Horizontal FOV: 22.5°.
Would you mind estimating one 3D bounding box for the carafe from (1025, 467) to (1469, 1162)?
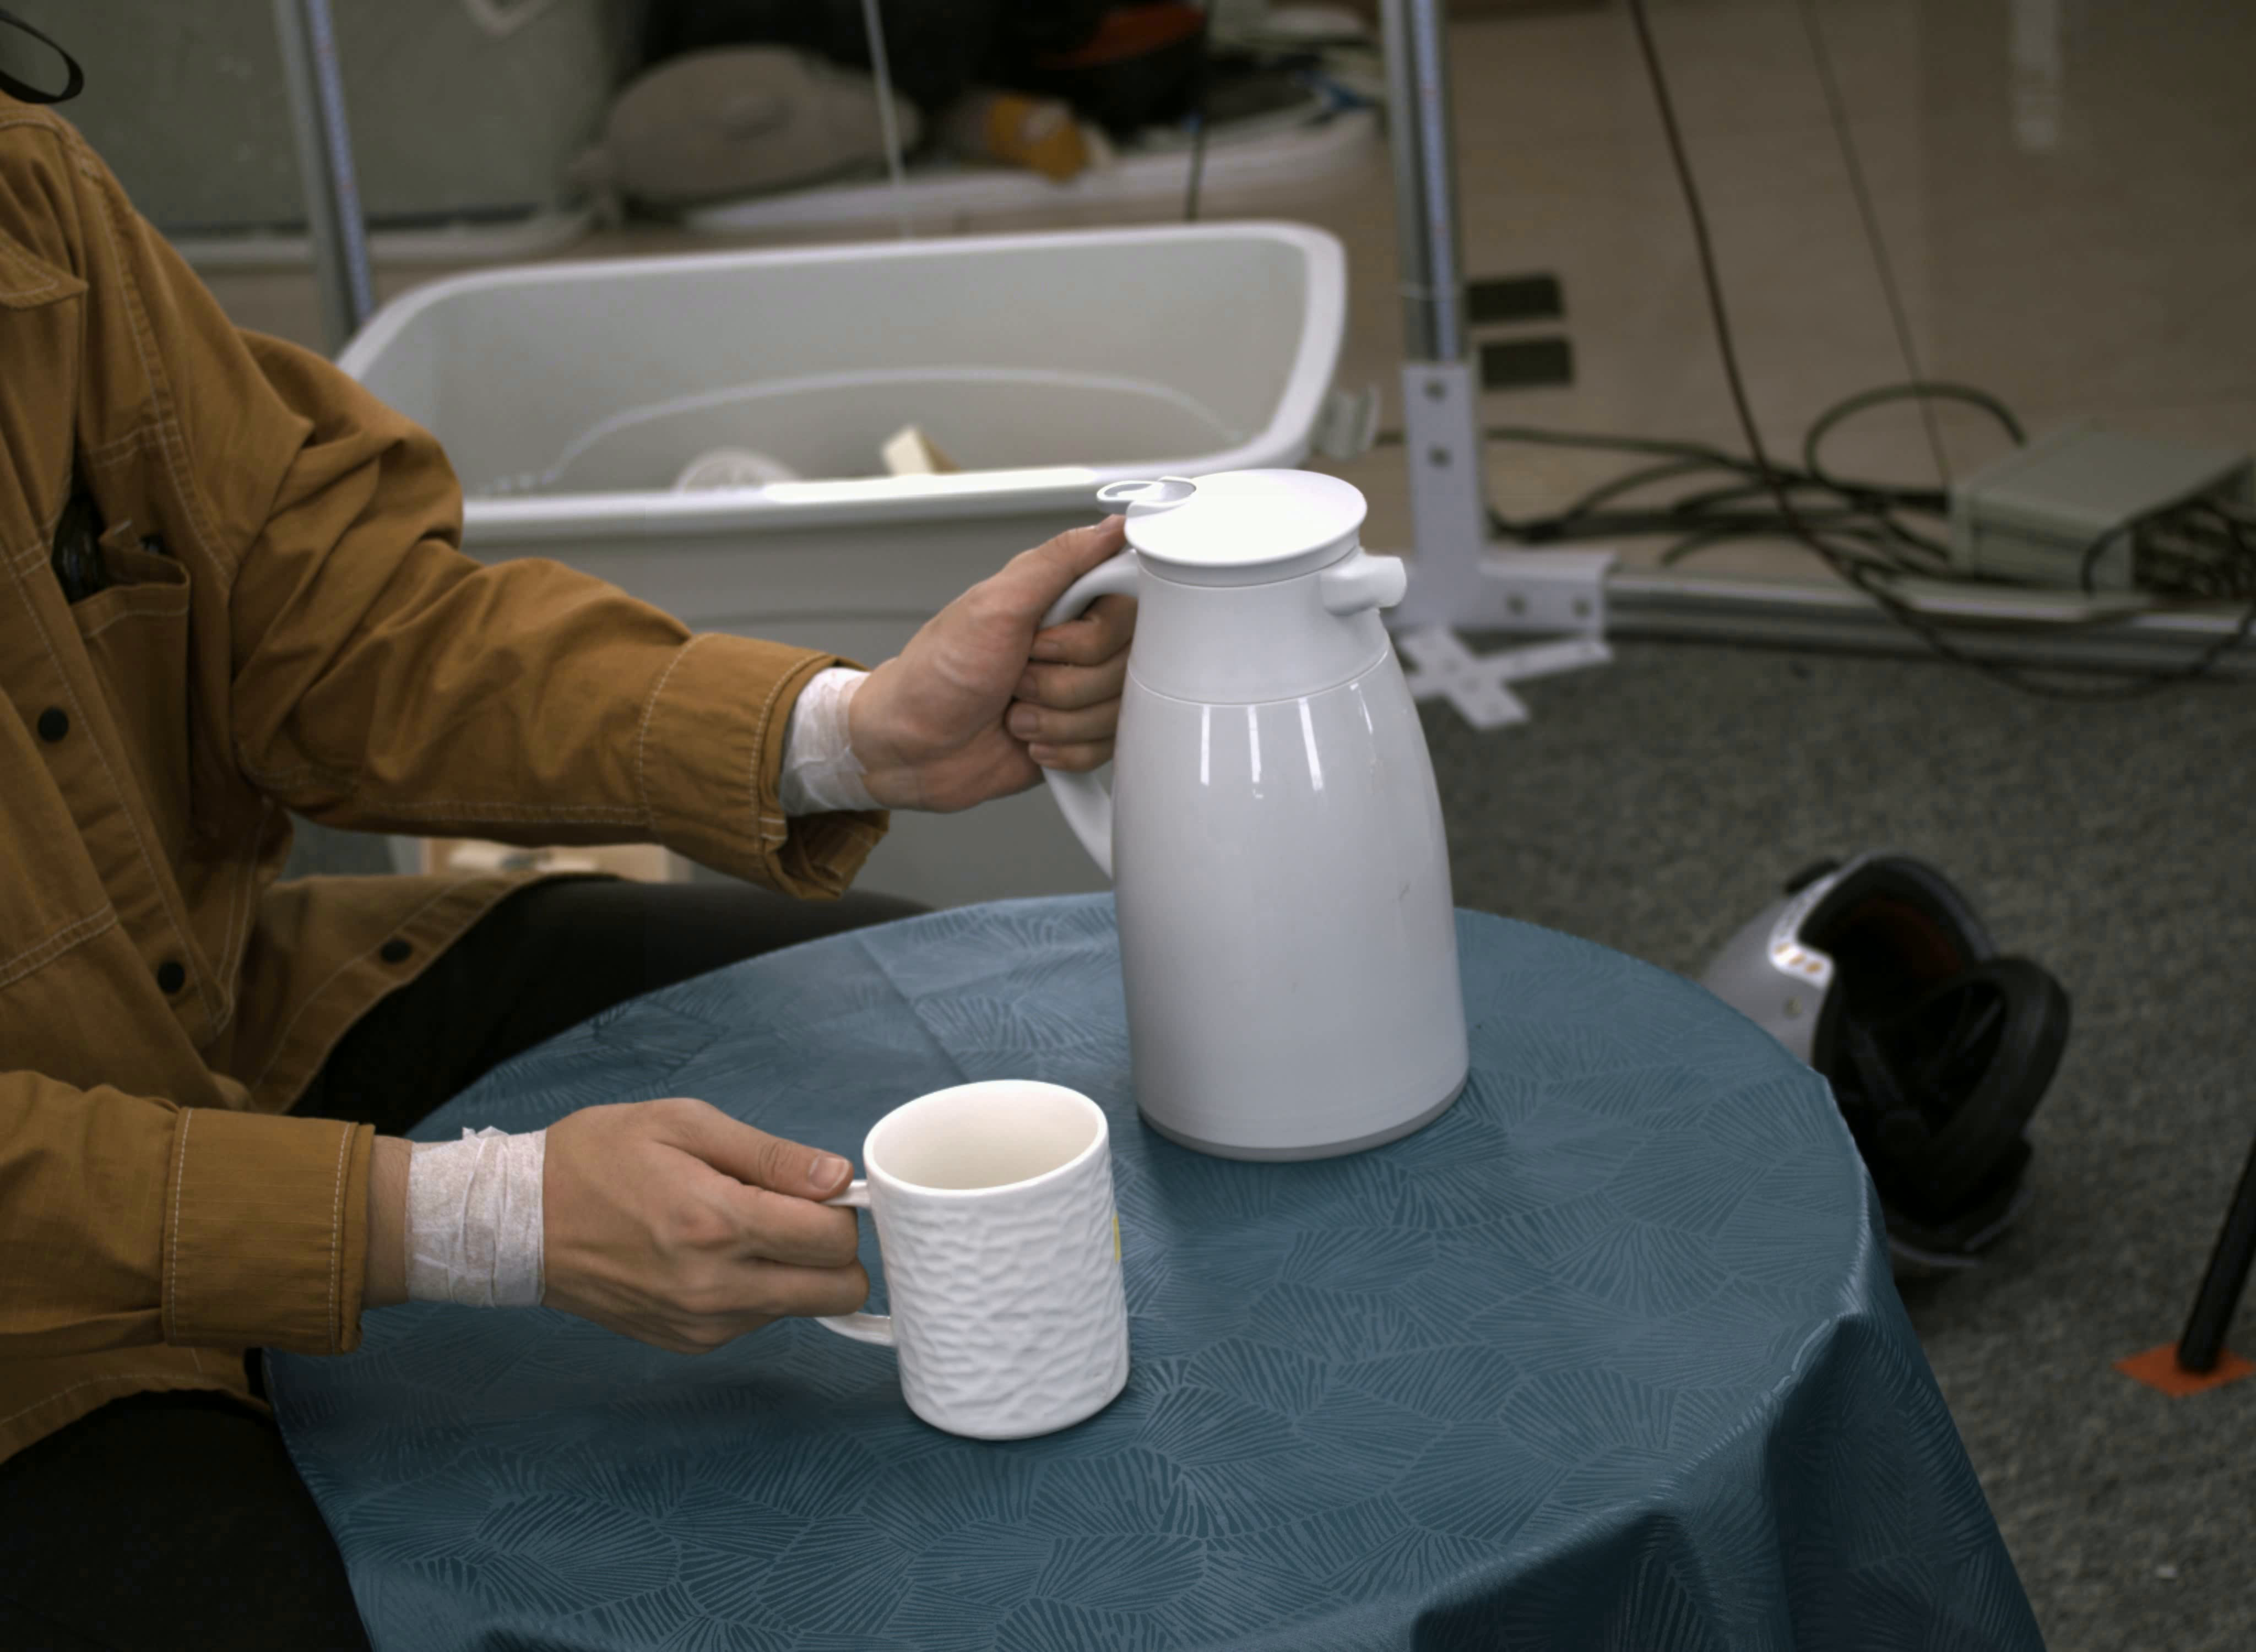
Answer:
[{"bbox_3d":[0.038,-0.013,2.168,0.167,0.252,0.131,9,31,30],"label":"carafe"}]

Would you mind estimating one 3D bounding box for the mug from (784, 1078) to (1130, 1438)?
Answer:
[{"bbox_3d":[-0.061,0.154,2.007,0.118,0.103,0.083,-4,26,4],"label":"mug"}]
